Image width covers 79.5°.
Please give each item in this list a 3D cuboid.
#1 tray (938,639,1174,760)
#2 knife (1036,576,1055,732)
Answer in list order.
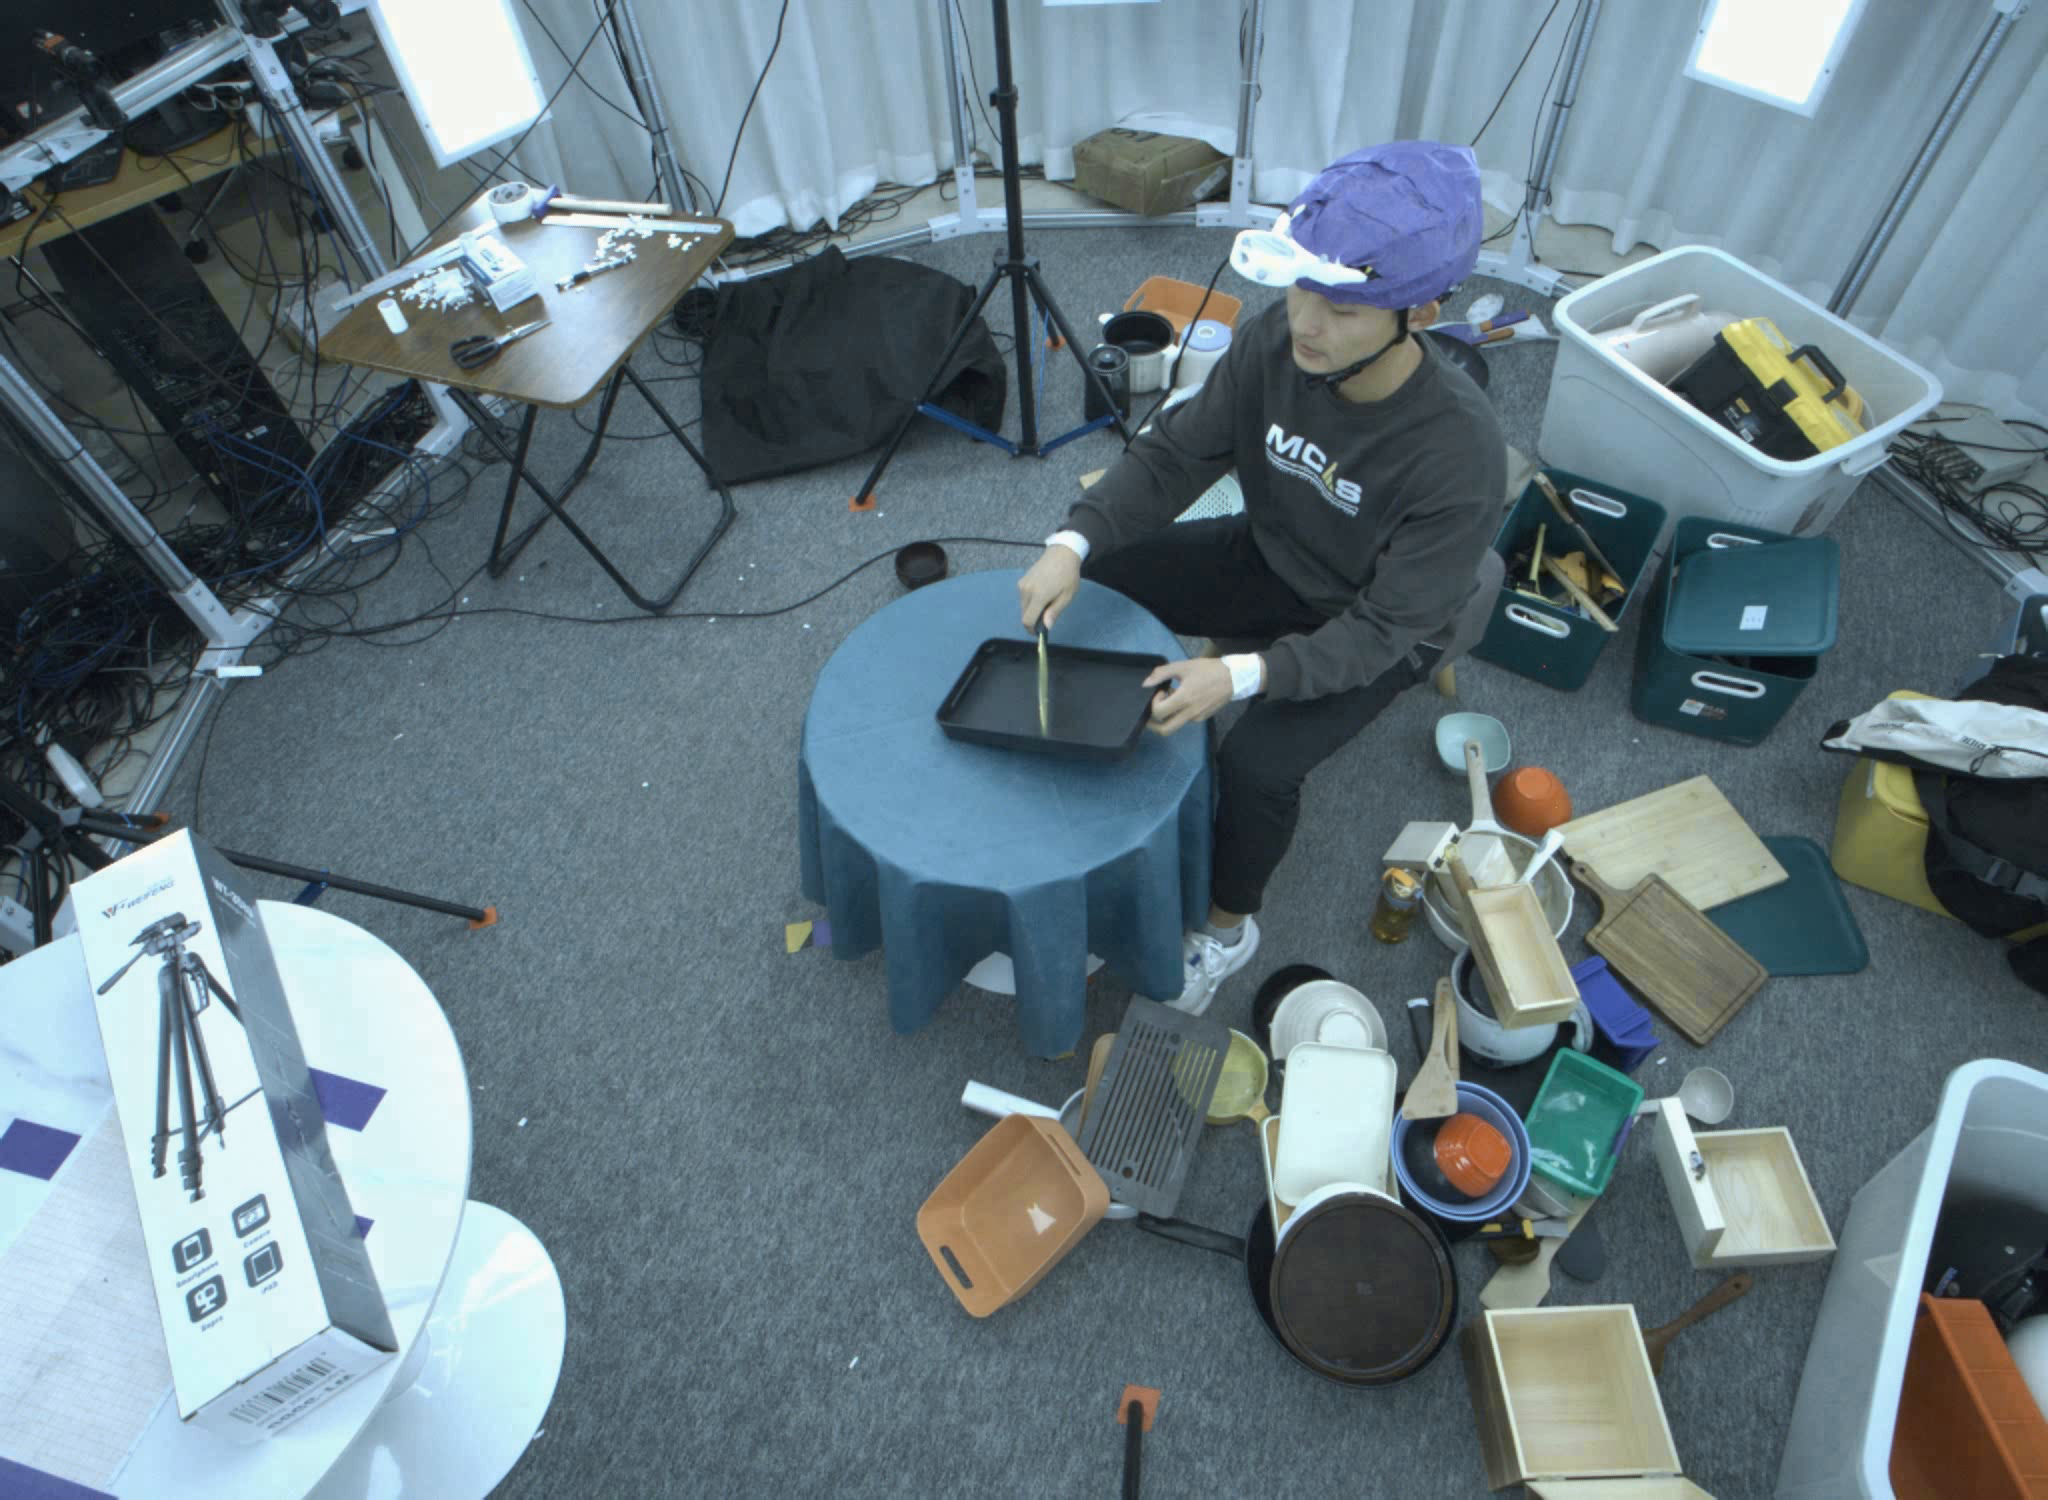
[{"bbox_3d":[0.045,-0.077,1.771,0.312,0.038,0.184,7,50,29],"label":"tray"},{"bbox_3d":[0.030,-0.141,1.785,0.027,0.082,0.286,-1,53,6],"label":"knife"}]
